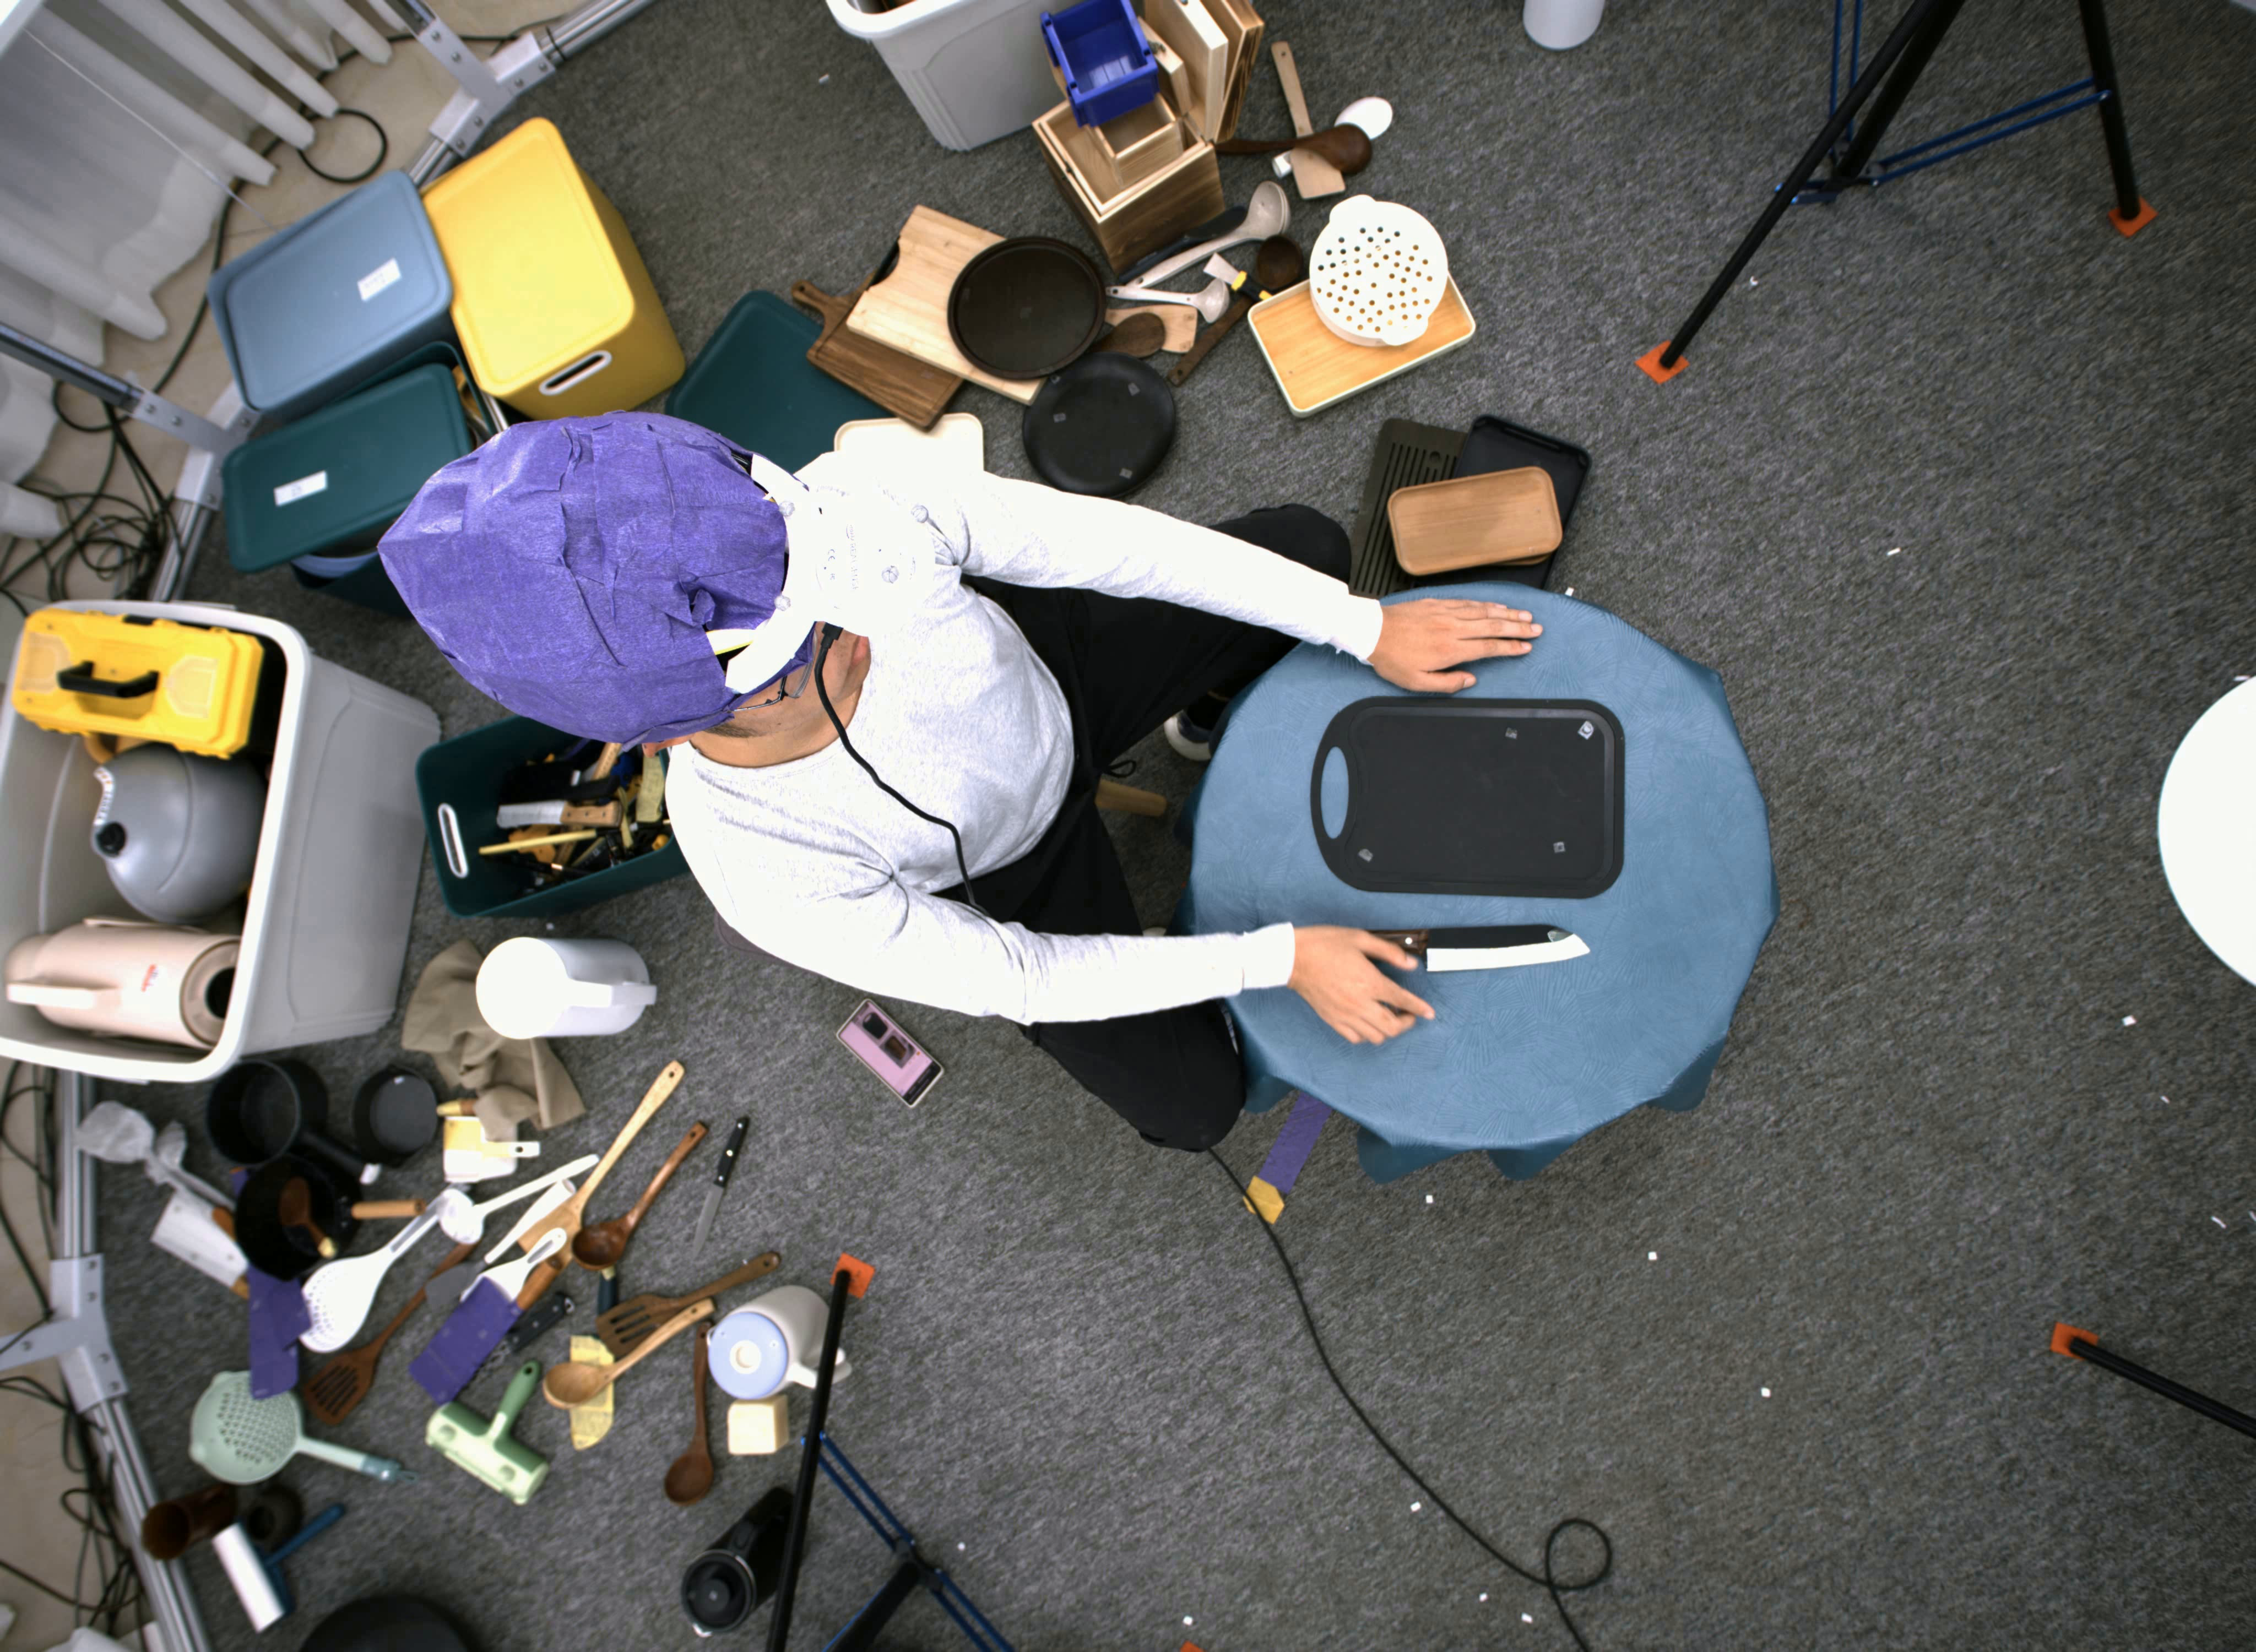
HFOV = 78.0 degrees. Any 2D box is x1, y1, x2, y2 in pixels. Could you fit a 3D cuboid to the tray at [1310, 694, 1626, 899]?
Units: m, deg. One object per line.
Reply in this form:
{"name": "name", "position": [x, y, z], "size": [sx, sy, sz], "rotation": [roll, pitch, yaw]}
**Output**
{"name": "tray", "position": [0.355, -0.035, 1.447], "size": [0.326, 0.010, 0.210], "rotation": [2, 87, 11]}

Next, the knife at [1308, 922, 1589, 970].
{"name": "knife", "position": [0.333, 0.123, 1.438], "size": [0.290, 0.020, 0.050], "rotation": [-1, 91, 8]}
